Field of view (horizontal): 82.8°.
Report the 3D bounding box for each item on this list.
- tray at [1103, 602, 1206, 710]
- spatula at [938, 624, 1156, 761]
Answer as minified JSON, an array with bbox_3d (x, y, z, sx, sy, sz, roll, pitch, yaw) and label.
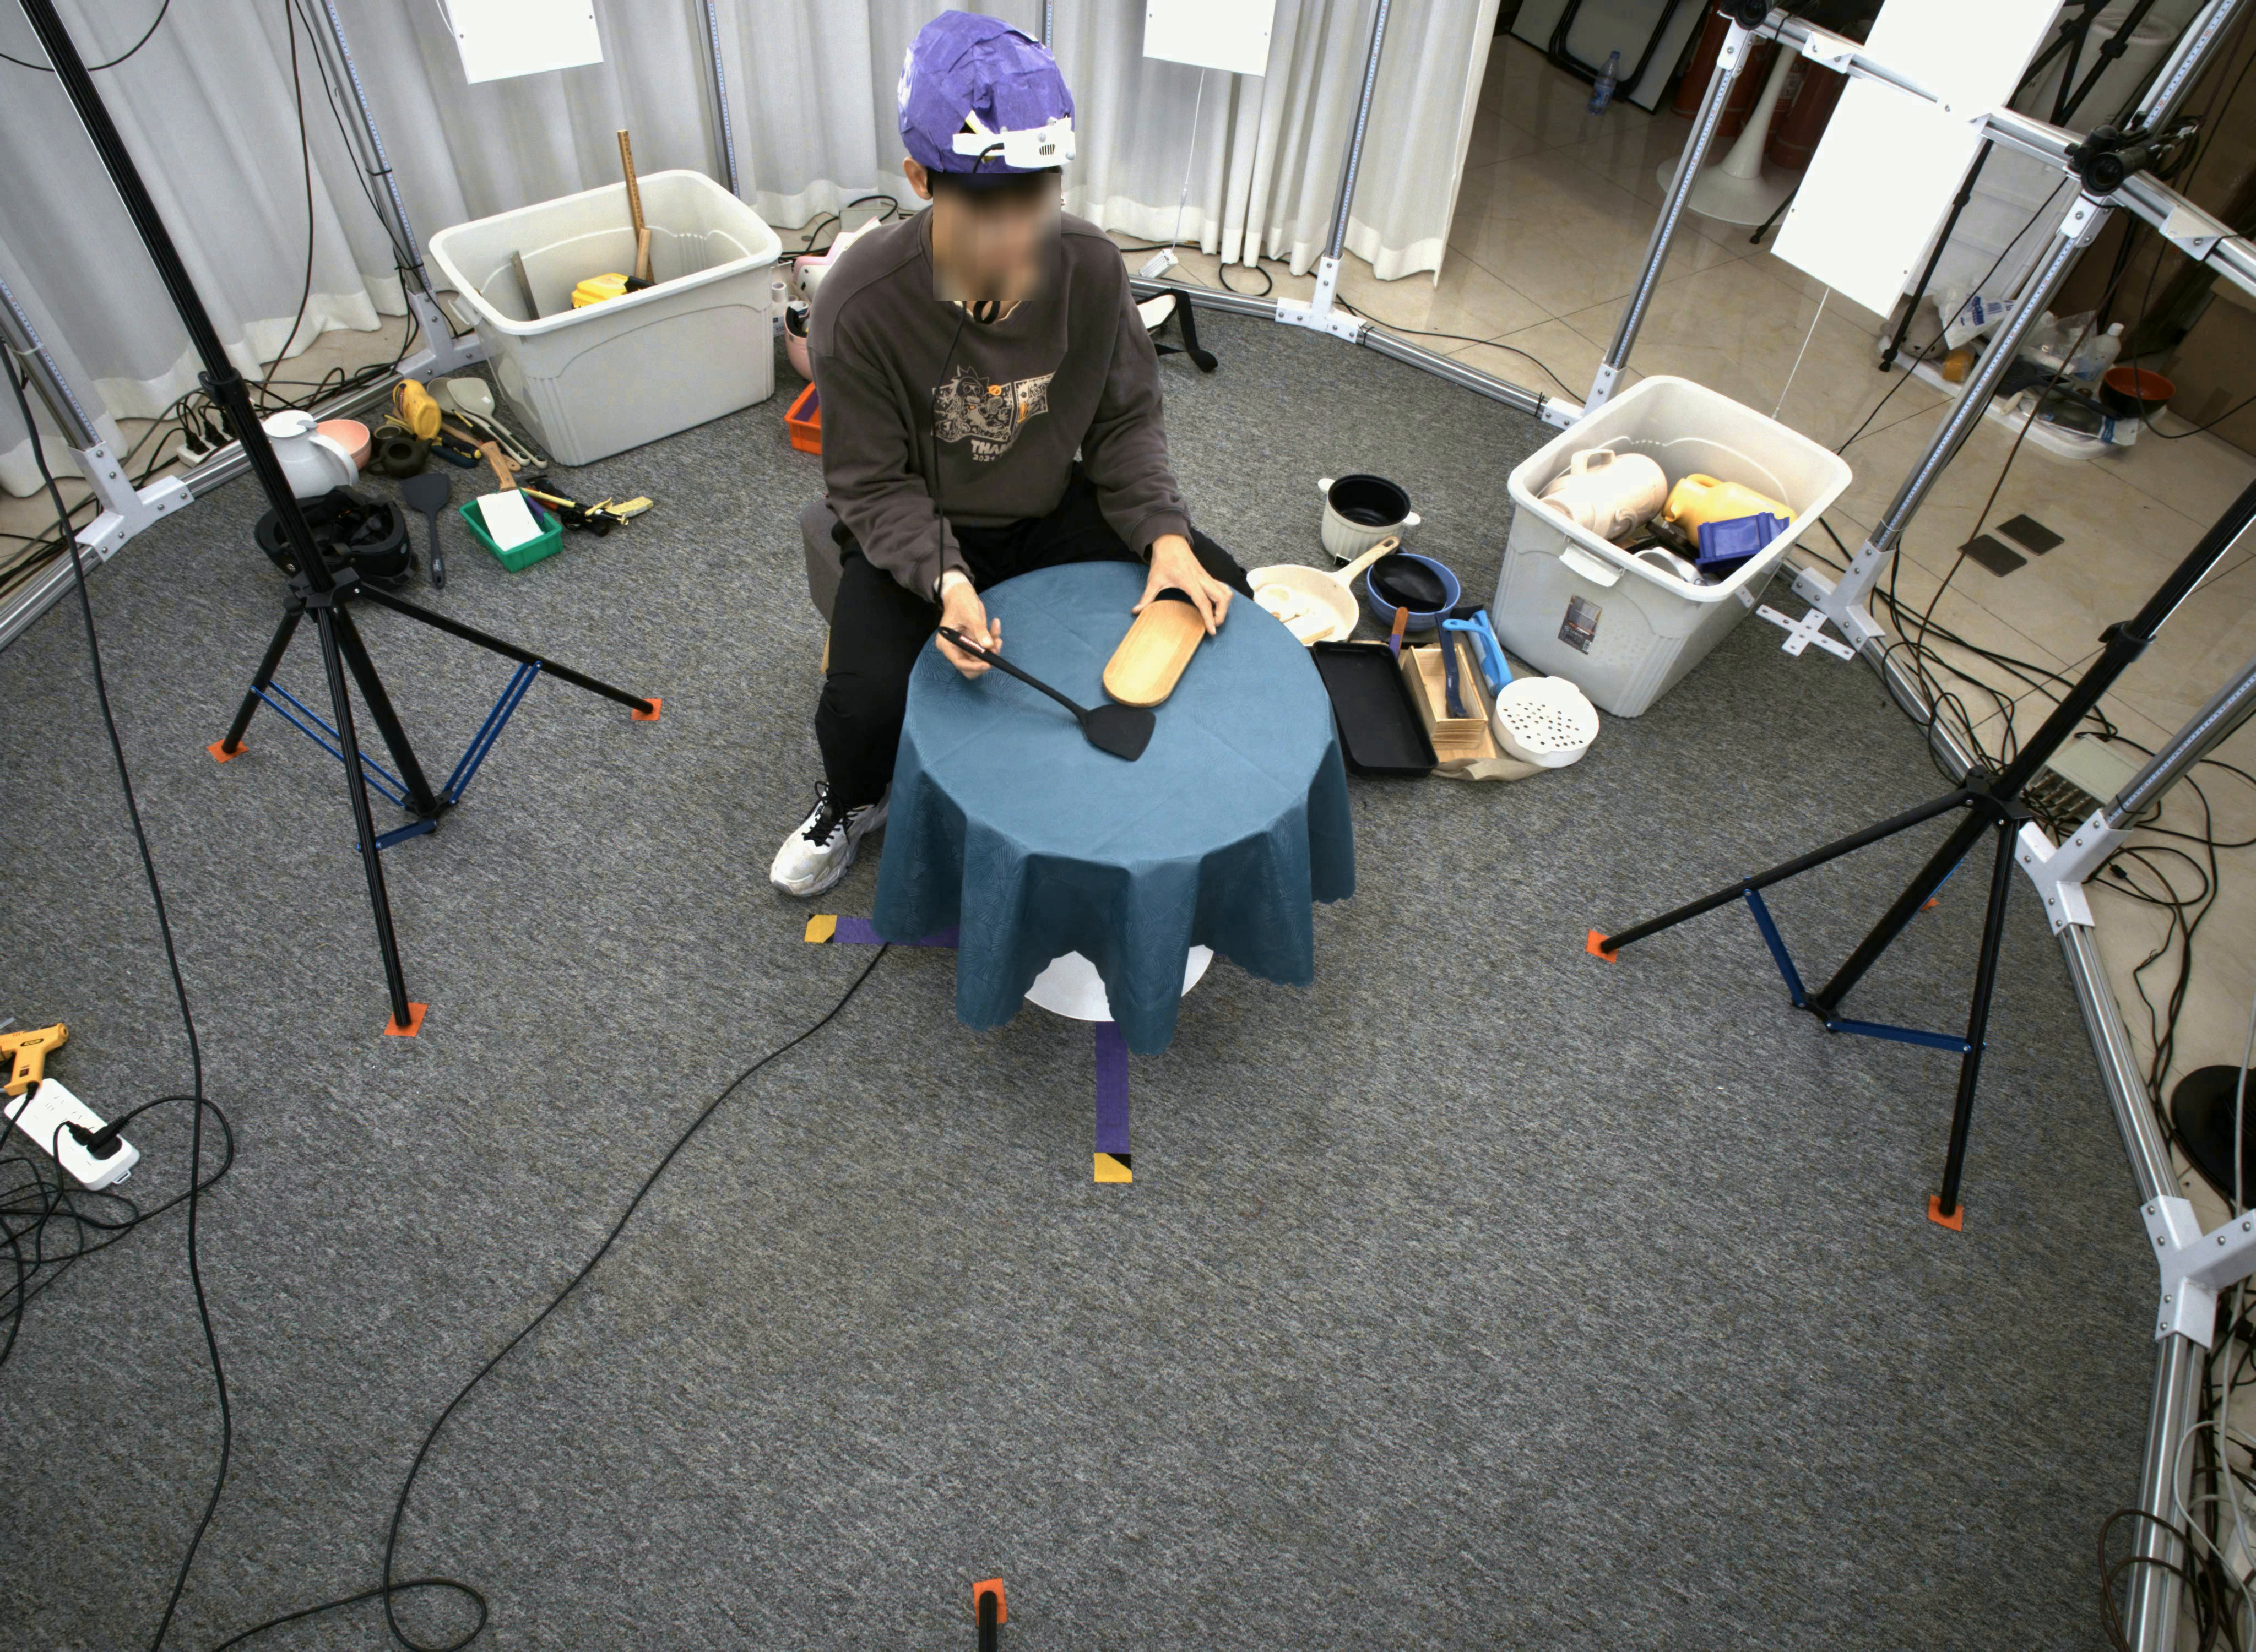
[{"bbox_3d":[0.040,-0.250,1.876,0.102,0.020,0.235,19,52,13],"label":"tray"},{"bbox_3d":[-0.115,-0.195,1.766,0.325,0.040,0.102,32,49,-7],"label":"spatula"}]
